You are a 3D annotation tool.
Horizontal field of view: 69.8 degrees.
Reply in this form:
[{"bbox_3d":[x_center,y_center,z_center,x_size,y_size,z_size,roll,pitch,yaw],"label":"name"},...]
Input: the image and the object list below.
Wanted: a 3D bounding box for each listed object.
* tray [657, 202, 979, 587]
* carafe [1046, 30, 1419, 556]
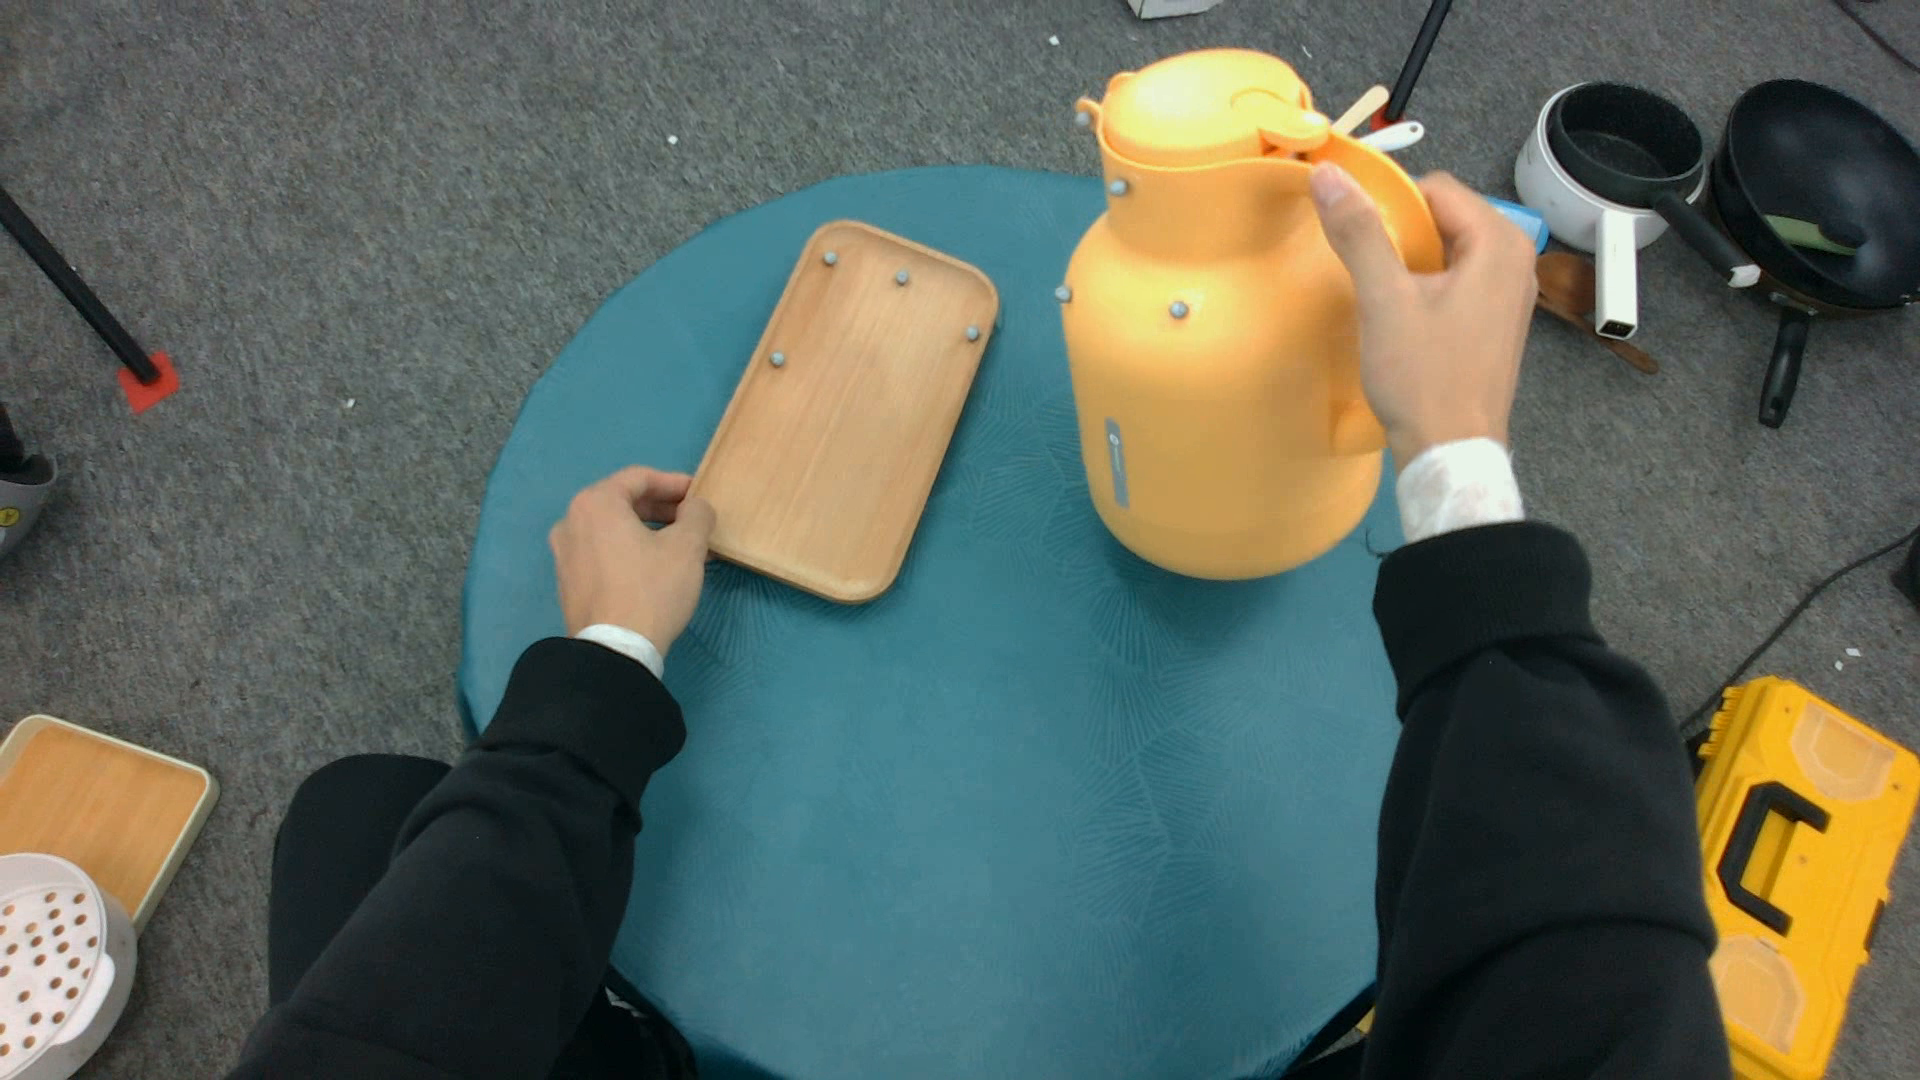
[{"bbox_3d":[-0.078,-0.092,0.818,0.130,0.023,0.252,20,62,0],"label":"tray"},{"bbox_3d":[0.138,-0.115,0.696,0.164,0.259,0.202,-38,47,-19],"label":"carafe"}]
